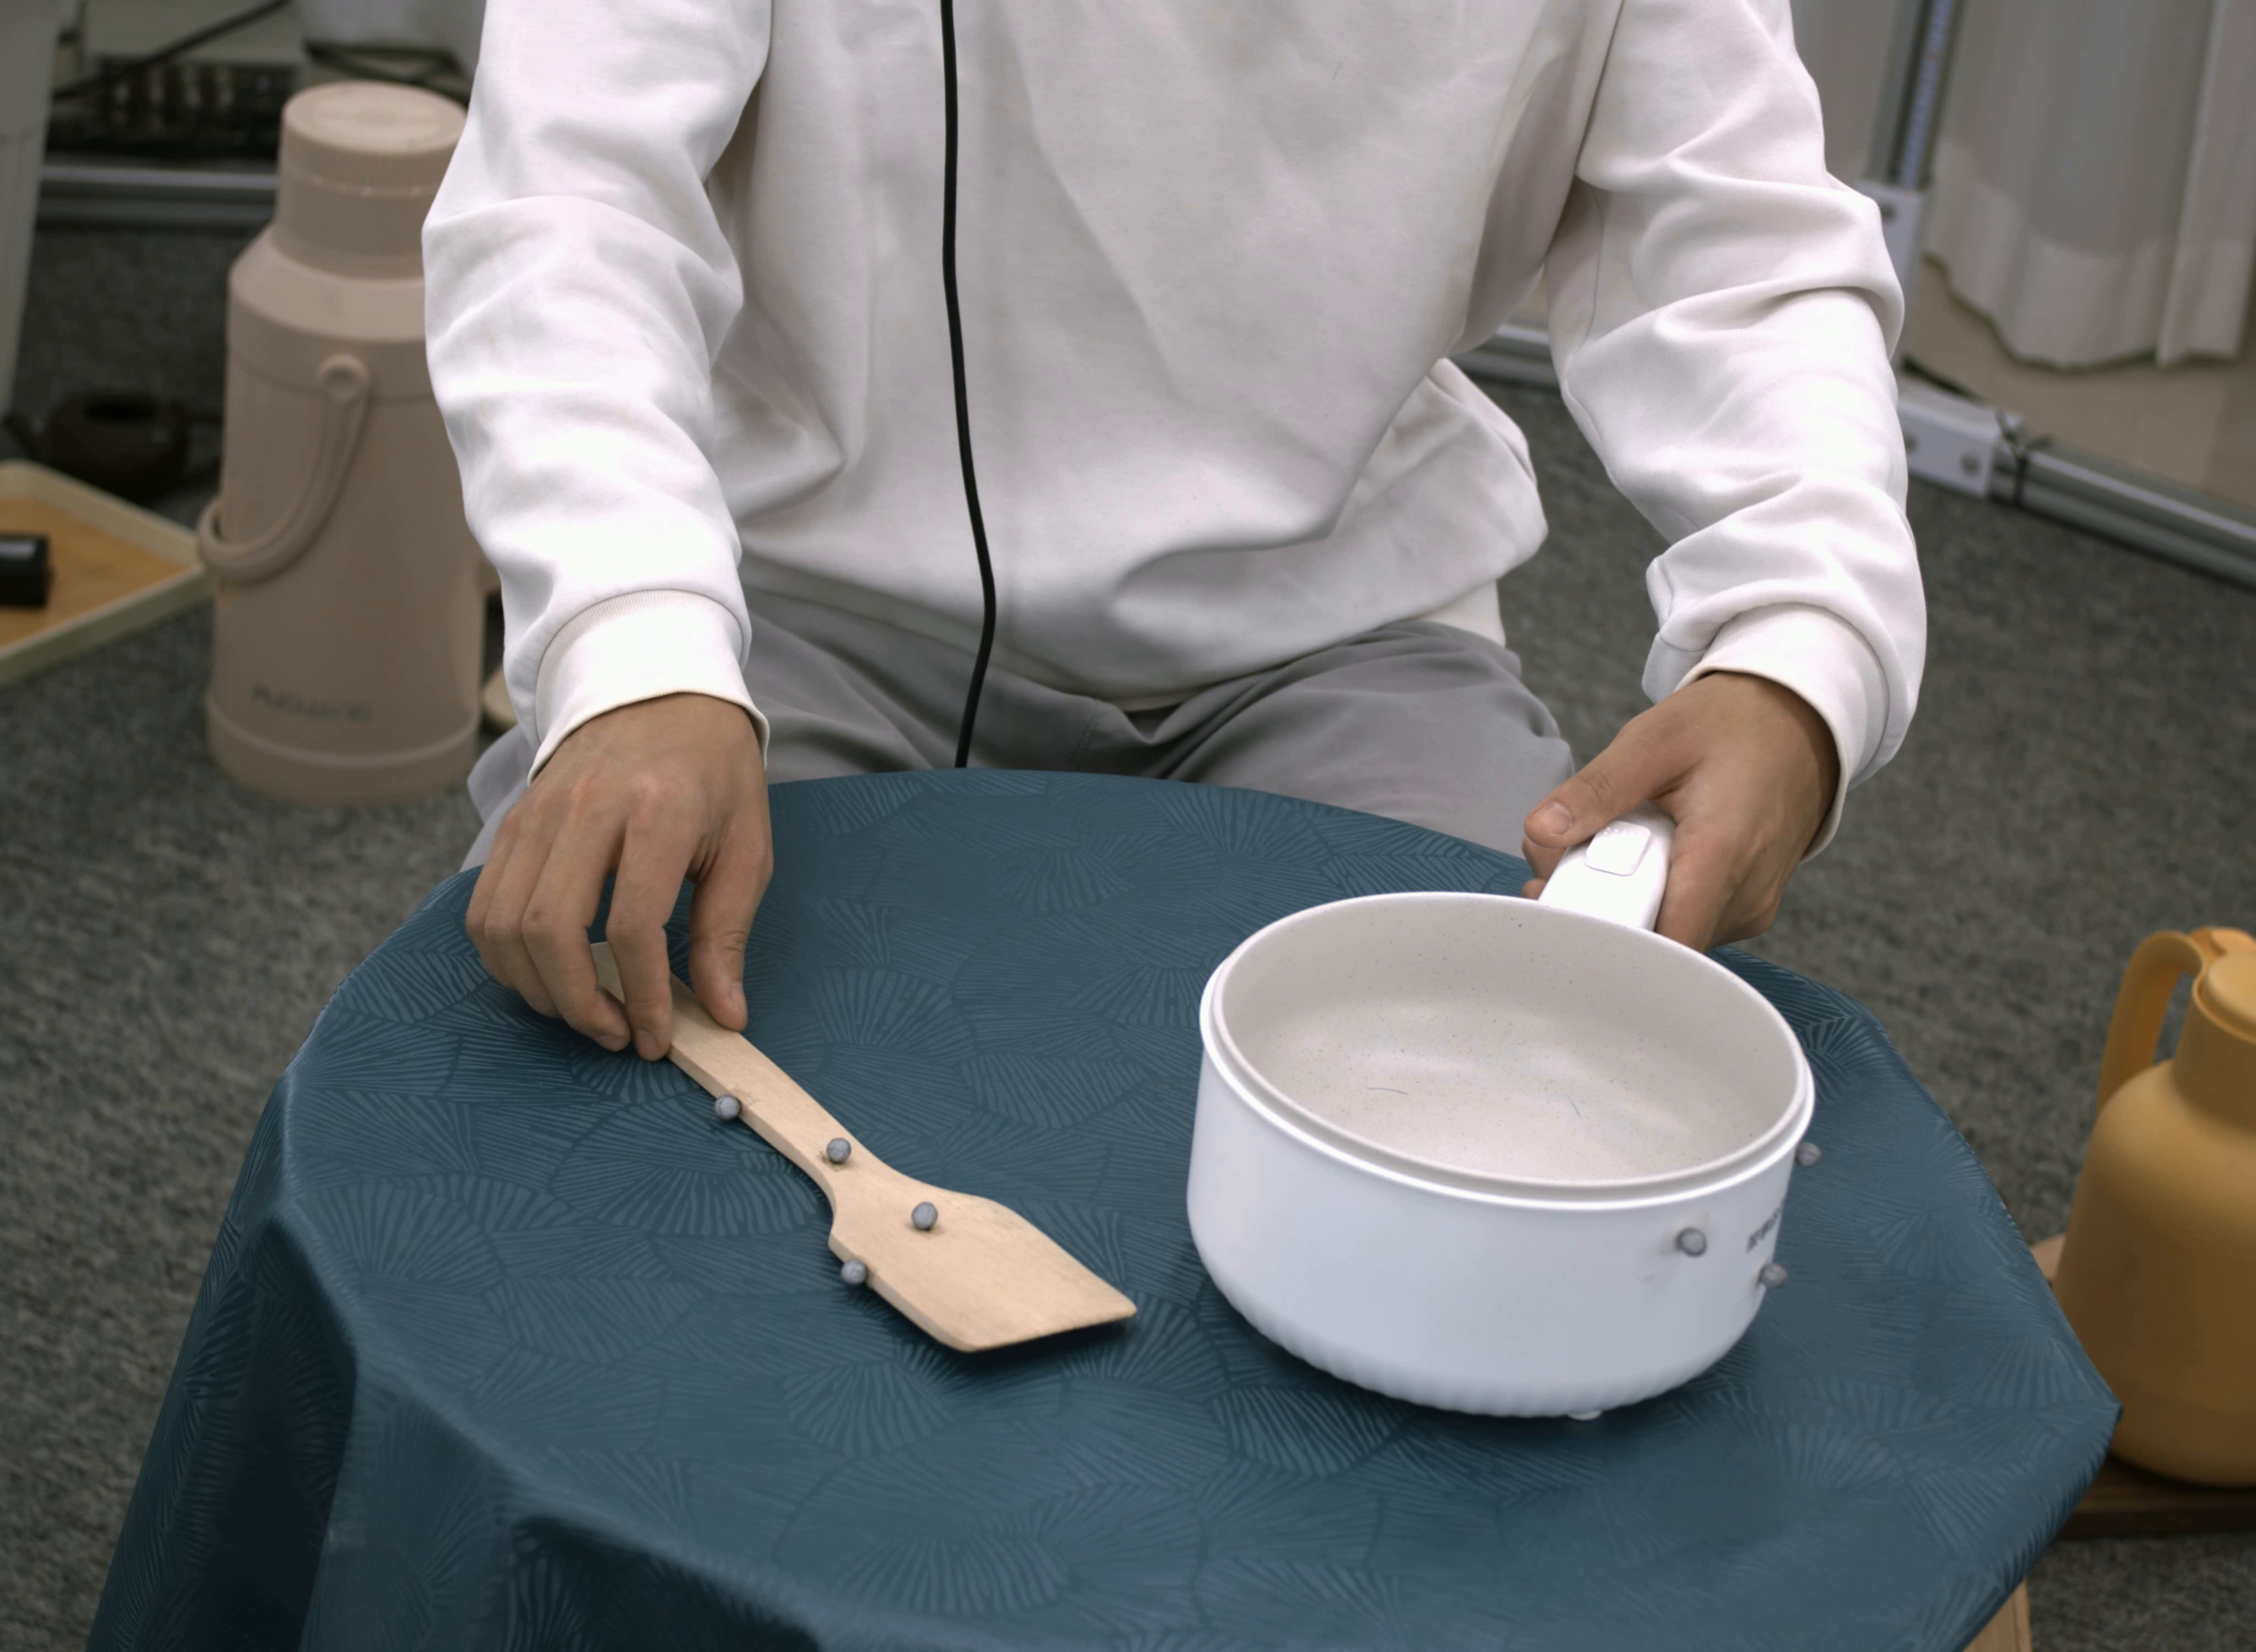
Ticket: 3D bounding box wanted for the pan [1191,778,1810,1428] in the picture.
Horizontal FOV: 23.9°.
[{"bbox_3d":[0.141,0.090,1.817,0.201,0.102,0.355,10,24,15],"label":"pan"}]
